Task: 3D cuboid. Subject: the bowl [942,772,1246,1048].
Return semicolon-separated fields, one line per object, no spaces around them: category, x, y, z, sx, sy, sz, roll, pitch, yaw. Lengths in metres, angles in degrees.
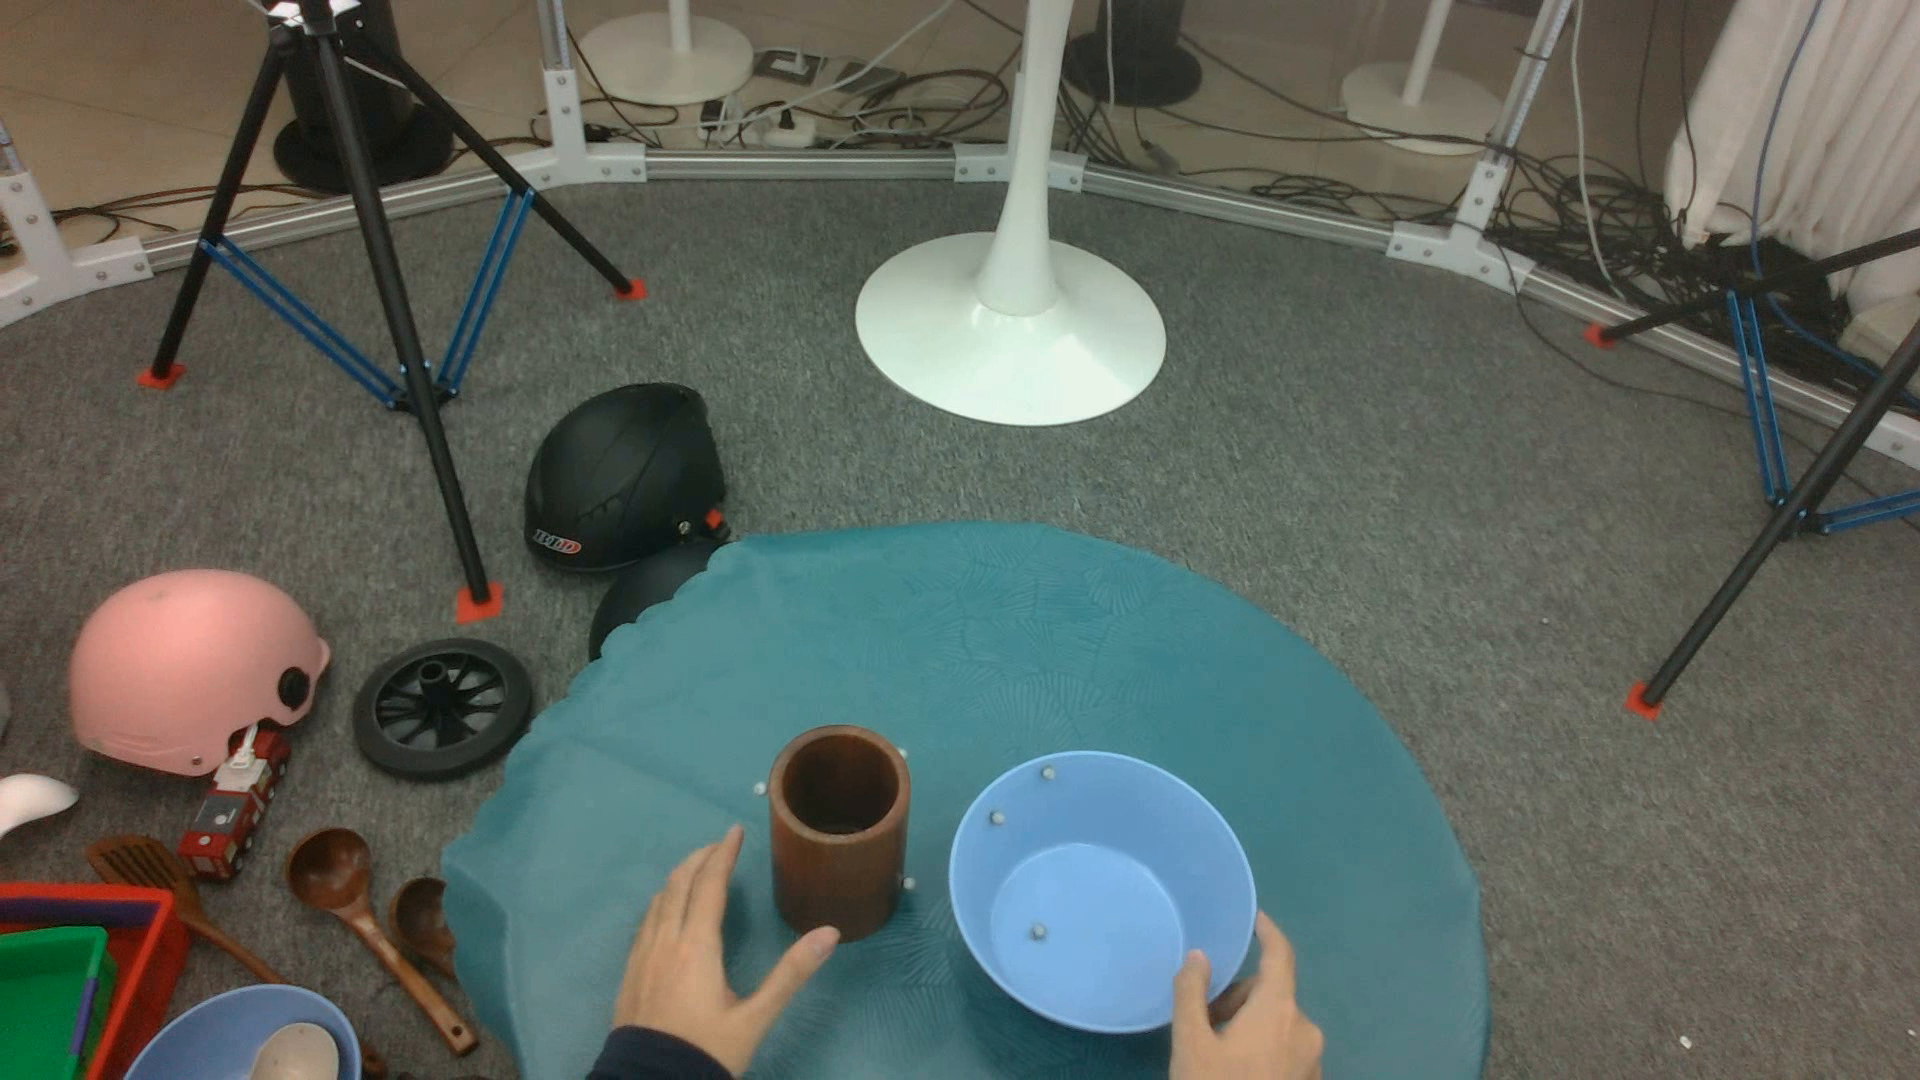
bowl;0.076;0.229;0.816;0.176;0.070;0.177;3;45;-3

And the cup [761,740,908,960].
cup;-0.073;0.184;0.812;0.088;0.118;0.088;2;47;-2
